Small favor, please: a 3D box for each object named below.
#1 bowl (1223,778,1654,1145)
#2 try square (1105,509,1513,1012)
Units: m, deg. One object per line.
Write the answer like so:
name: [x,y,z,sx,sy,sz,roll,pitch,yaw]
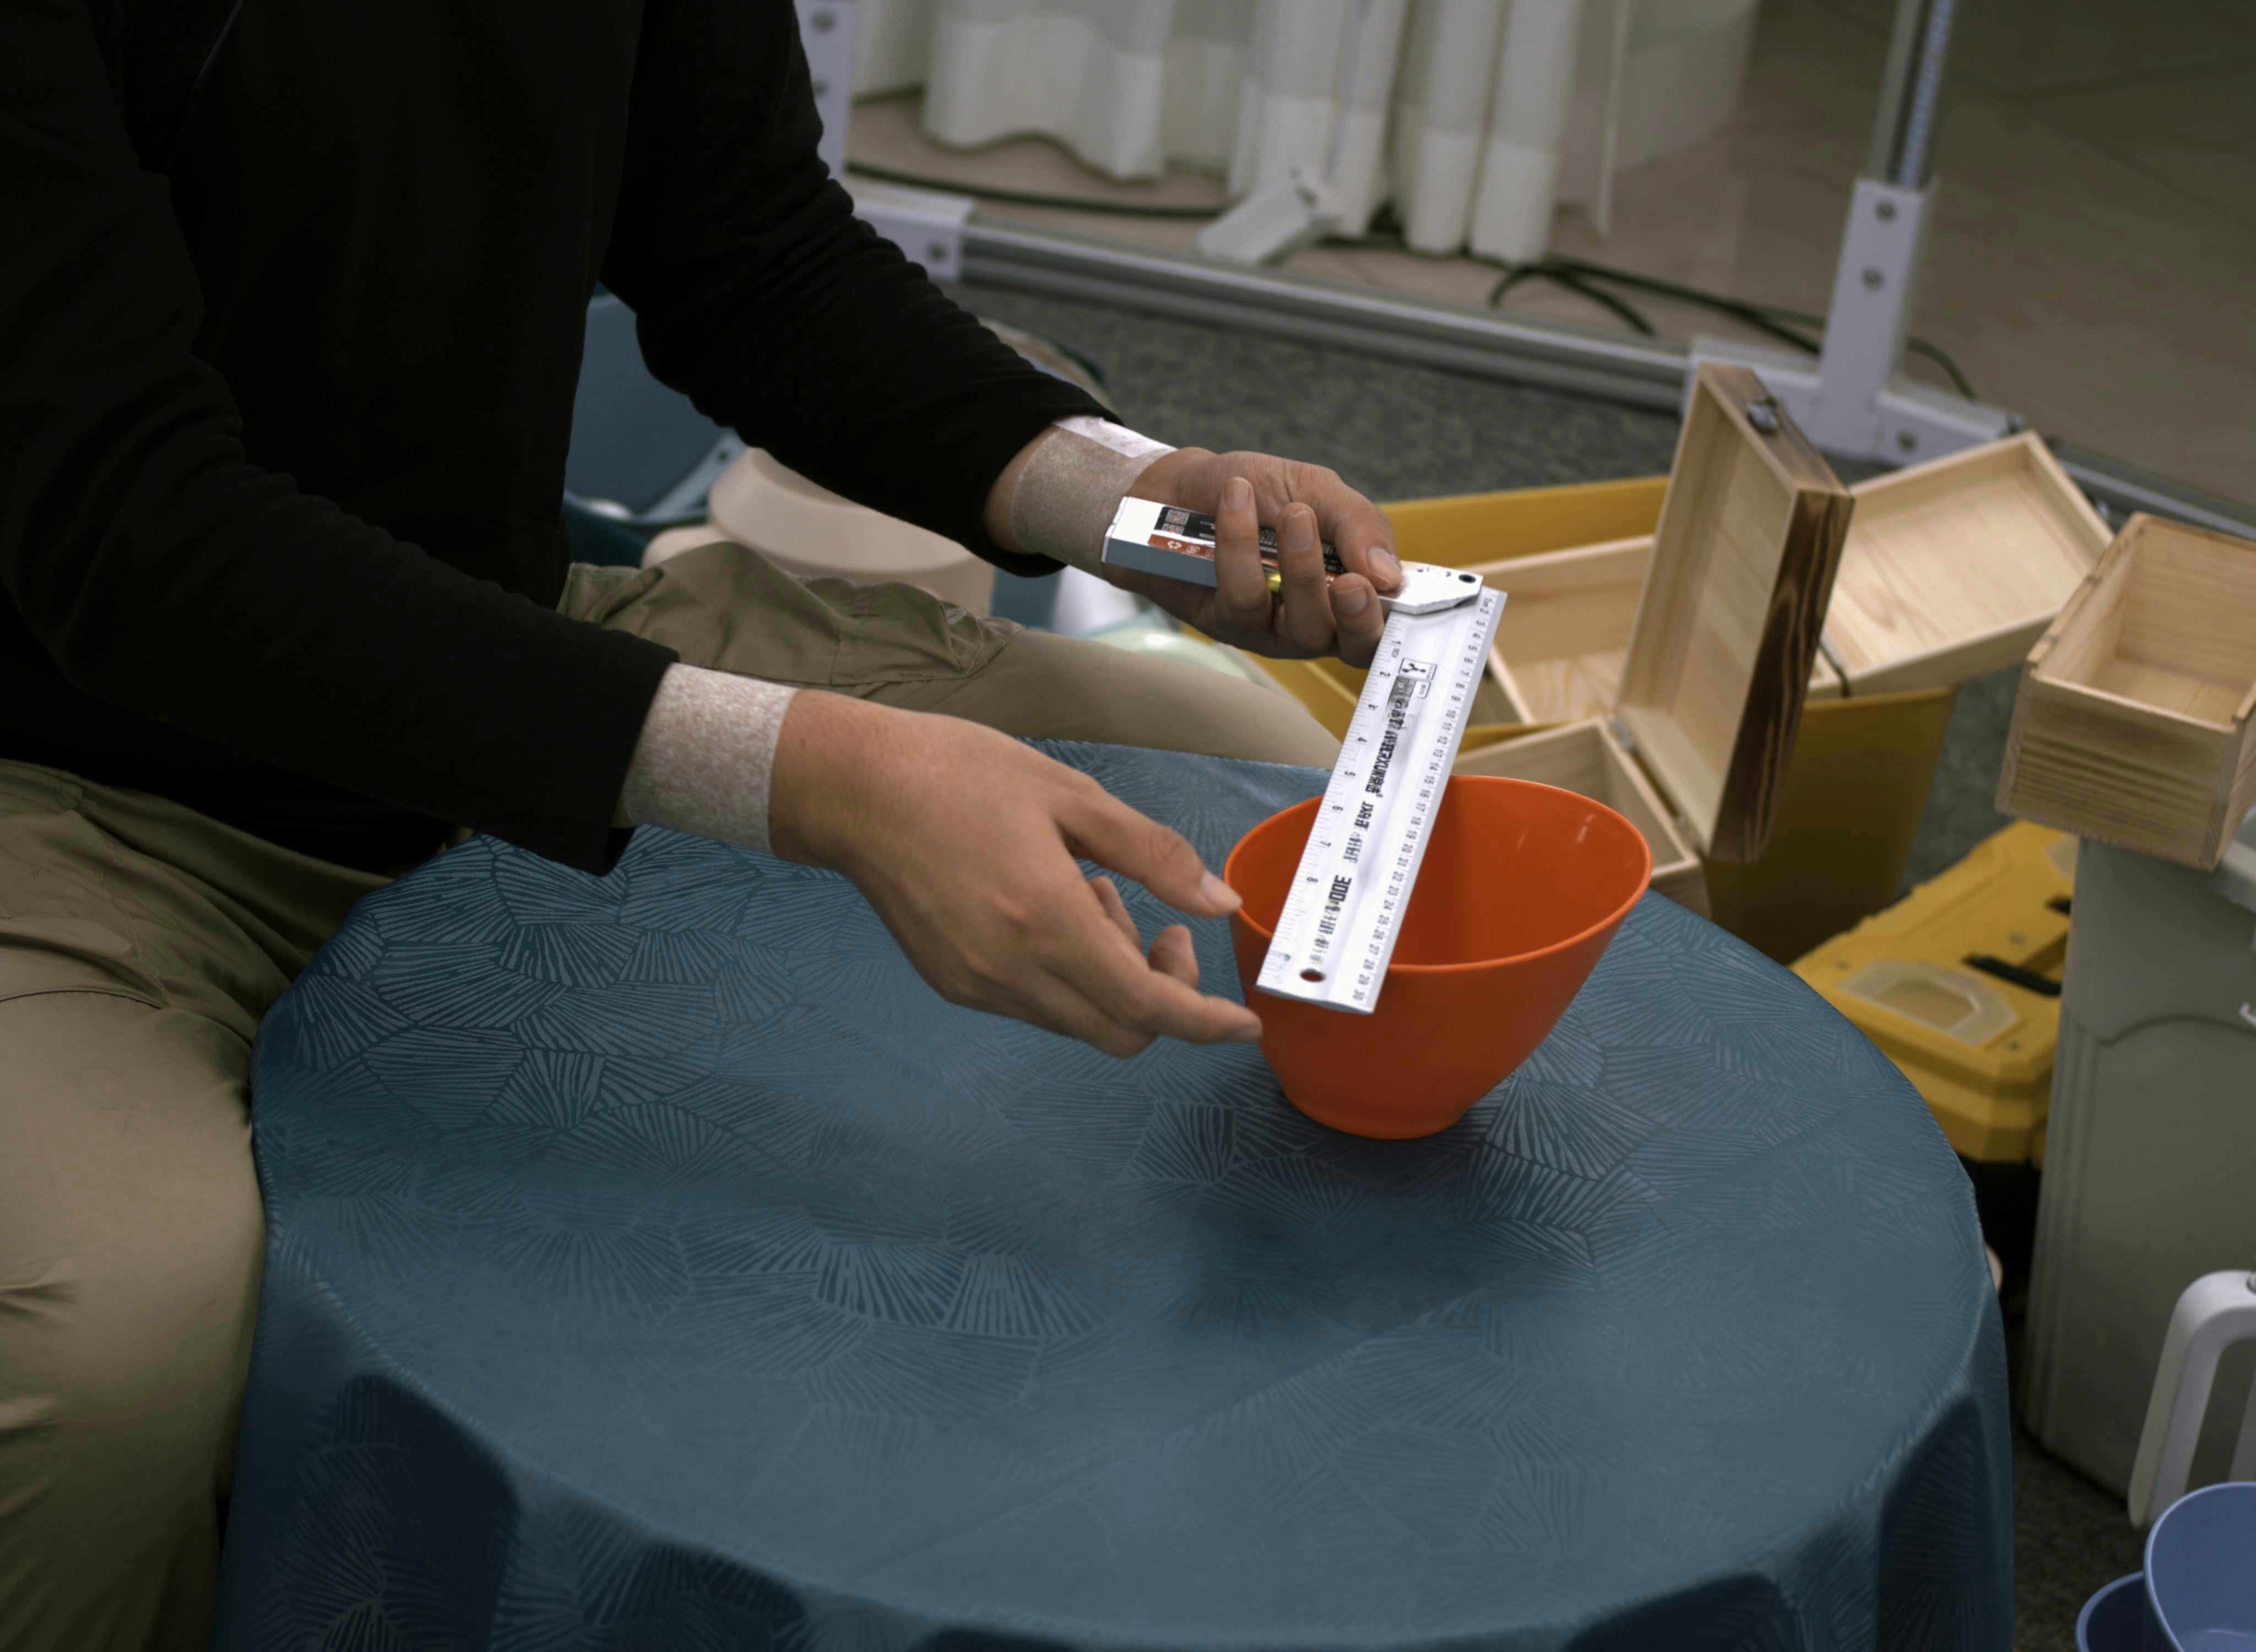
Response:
bowl: [0.103,0.052,1.855,0.147,0.104,0.149,4,28,-3]
try square: [0.041,-0.028,1.891,0.152,0.016,0.314,10,31,8]
